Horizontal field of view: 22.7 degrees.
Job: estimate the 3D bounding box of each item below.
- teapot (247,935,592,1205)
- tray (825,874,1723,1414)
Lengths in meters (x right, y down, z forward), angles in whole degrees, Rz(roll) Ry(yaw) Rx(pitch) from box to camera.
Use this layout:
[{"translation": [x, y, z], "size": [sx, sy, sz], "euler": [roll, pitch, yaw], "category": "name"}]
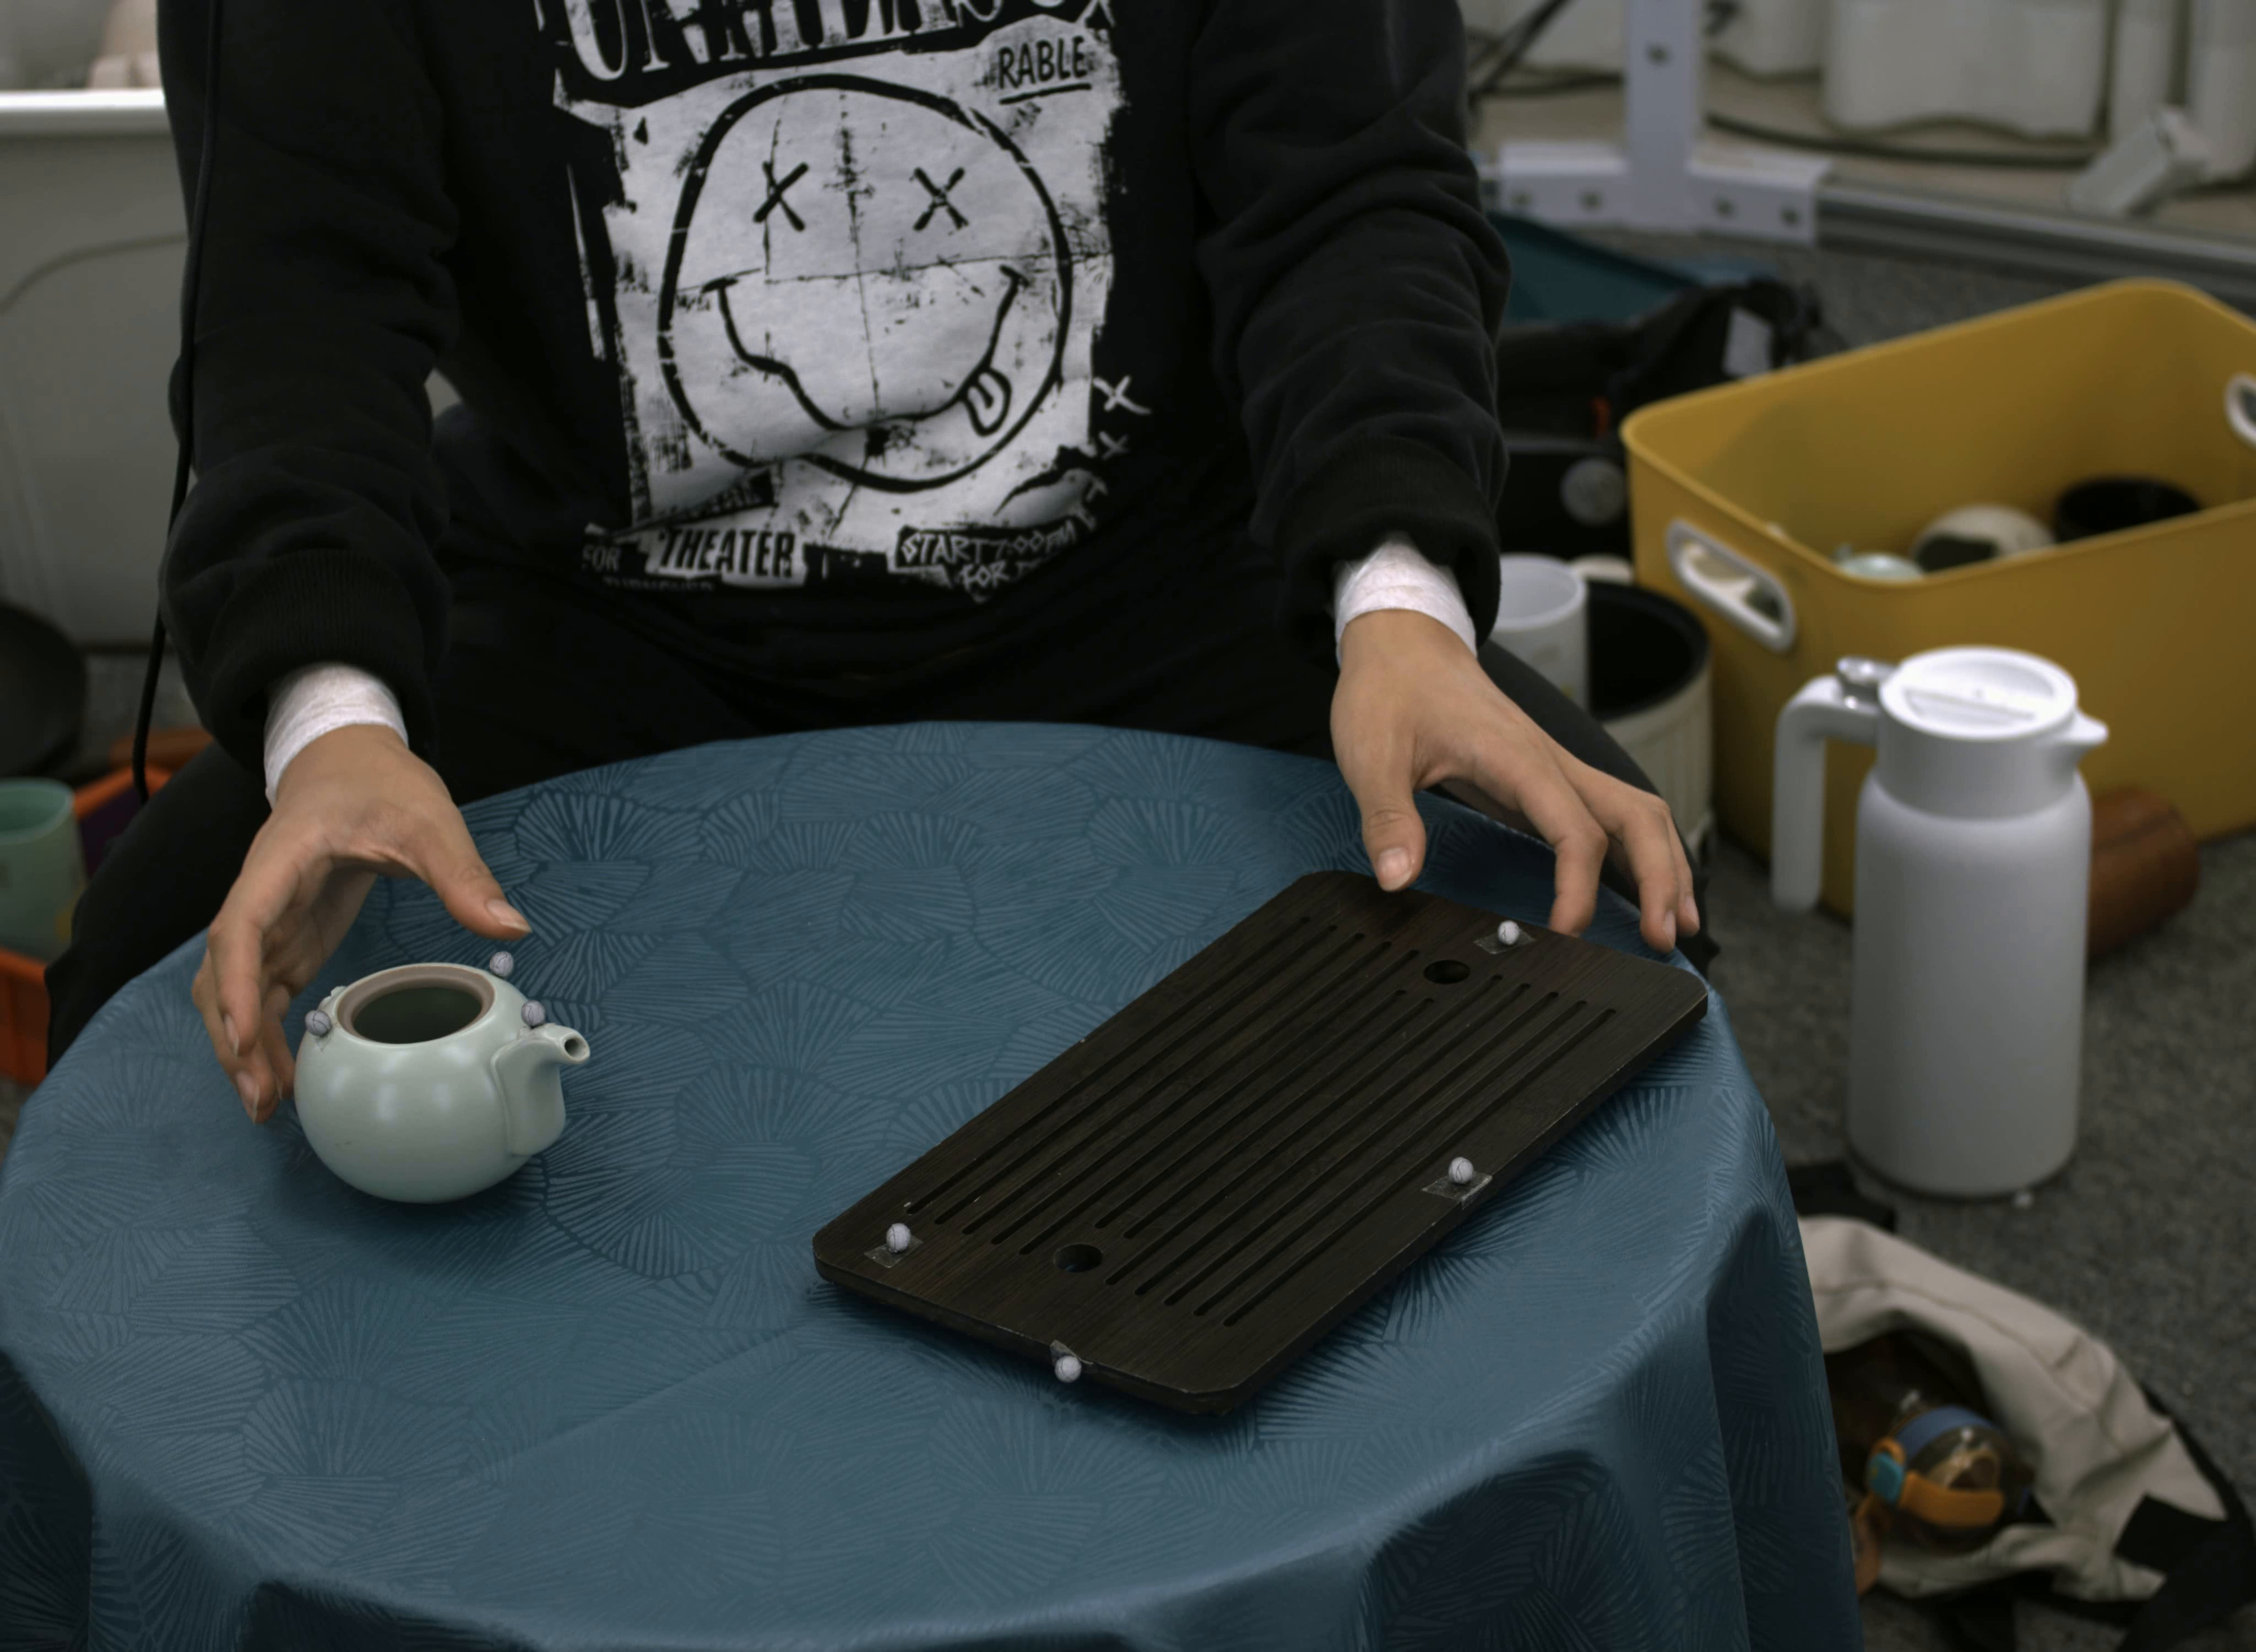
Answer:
[{"translation": [-0.234, 0.085, 1.874], "size": [0.143, 0.074, 0.089], "euler": [17, 33, 31], "category": "teapot"}, {"translation": [0.053, 0.103, 1.871], "size": [0.169, 0.018, 0.310], "euler": [16, 32, 33], "category": "tray"}]
